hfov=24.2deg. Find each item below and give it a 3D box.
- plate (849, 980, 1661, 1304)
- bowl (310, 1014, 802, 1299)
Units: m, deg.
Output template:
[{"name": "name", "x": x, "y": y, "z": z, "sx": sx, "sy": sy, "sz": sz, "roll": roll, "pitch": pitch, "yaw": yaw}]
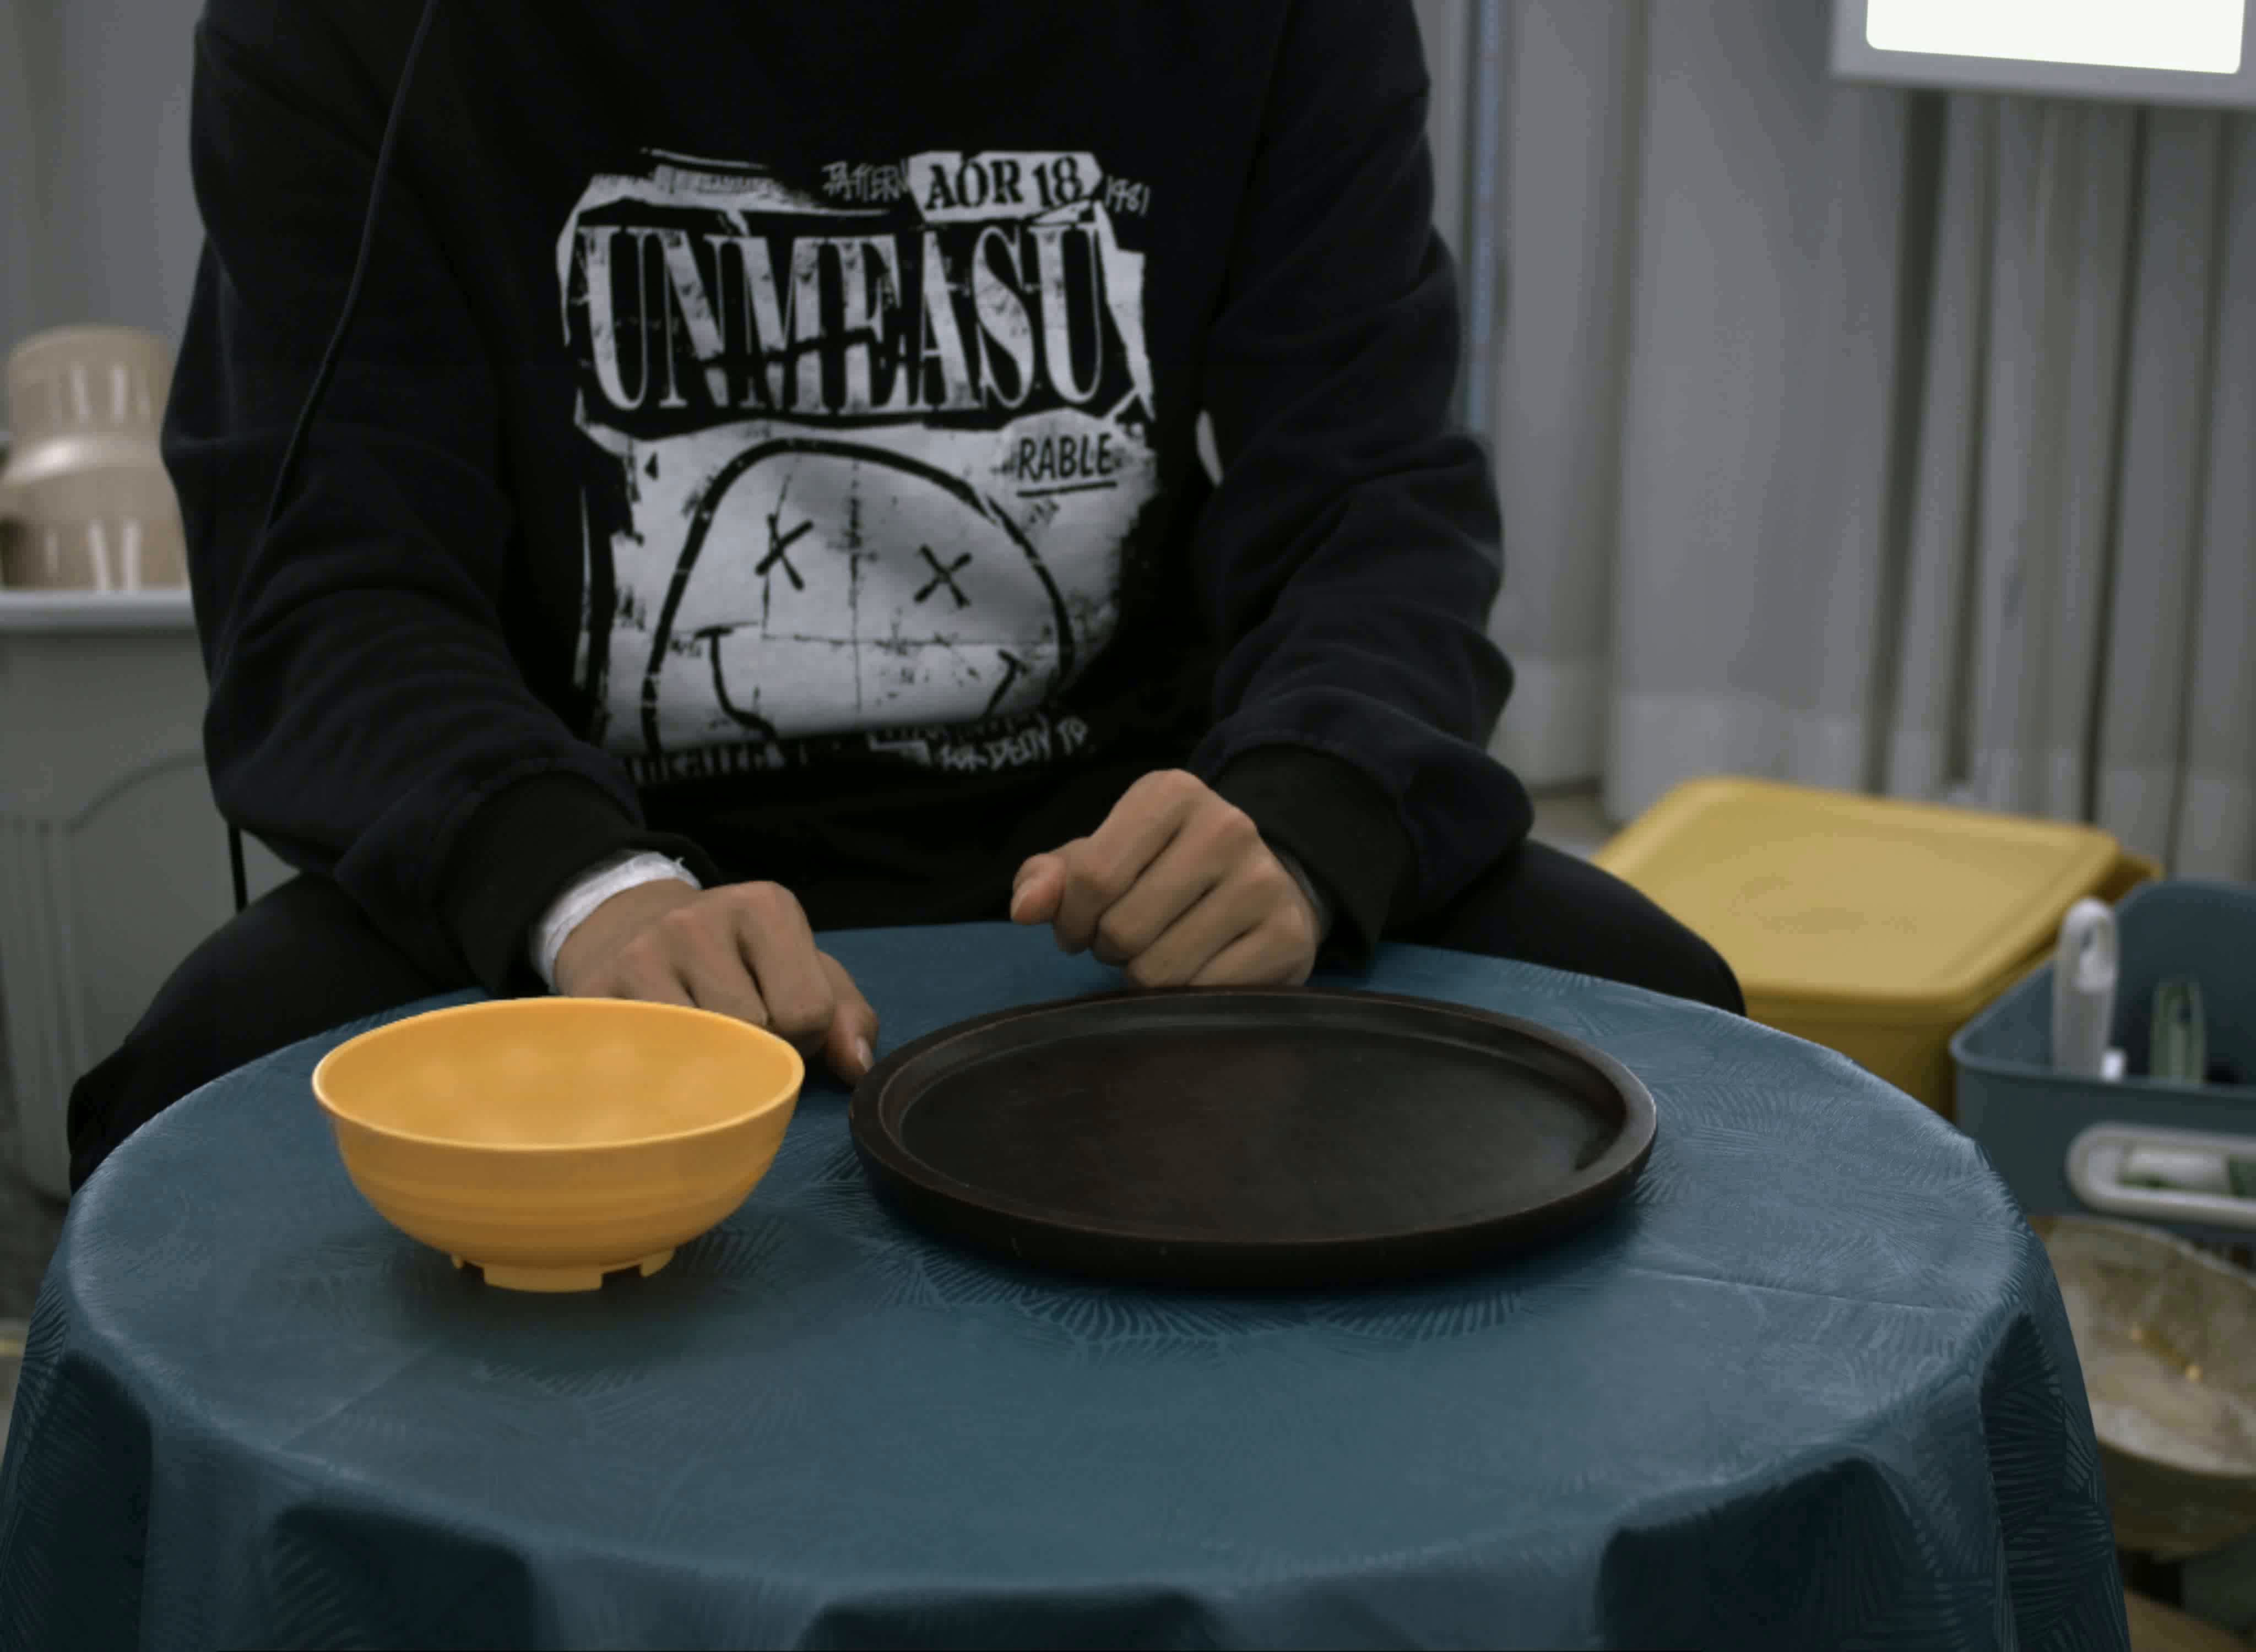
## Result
[{"name": "plate", "x": 0.039, "y": 0.096, "z": 1.645, "sx": 0.254, "sy": 0.029, "sz": 0.253, "roll": -1, "pitch": 16, "yaw": 1}, {"name": "bowl", "x": -0.169, "y": 0.102, "z": 1.557, "sx": 0.145, "sy": 0.060, "sz": 0.144, "roll": 2, "pitch": 13, "yaw": 0}]
